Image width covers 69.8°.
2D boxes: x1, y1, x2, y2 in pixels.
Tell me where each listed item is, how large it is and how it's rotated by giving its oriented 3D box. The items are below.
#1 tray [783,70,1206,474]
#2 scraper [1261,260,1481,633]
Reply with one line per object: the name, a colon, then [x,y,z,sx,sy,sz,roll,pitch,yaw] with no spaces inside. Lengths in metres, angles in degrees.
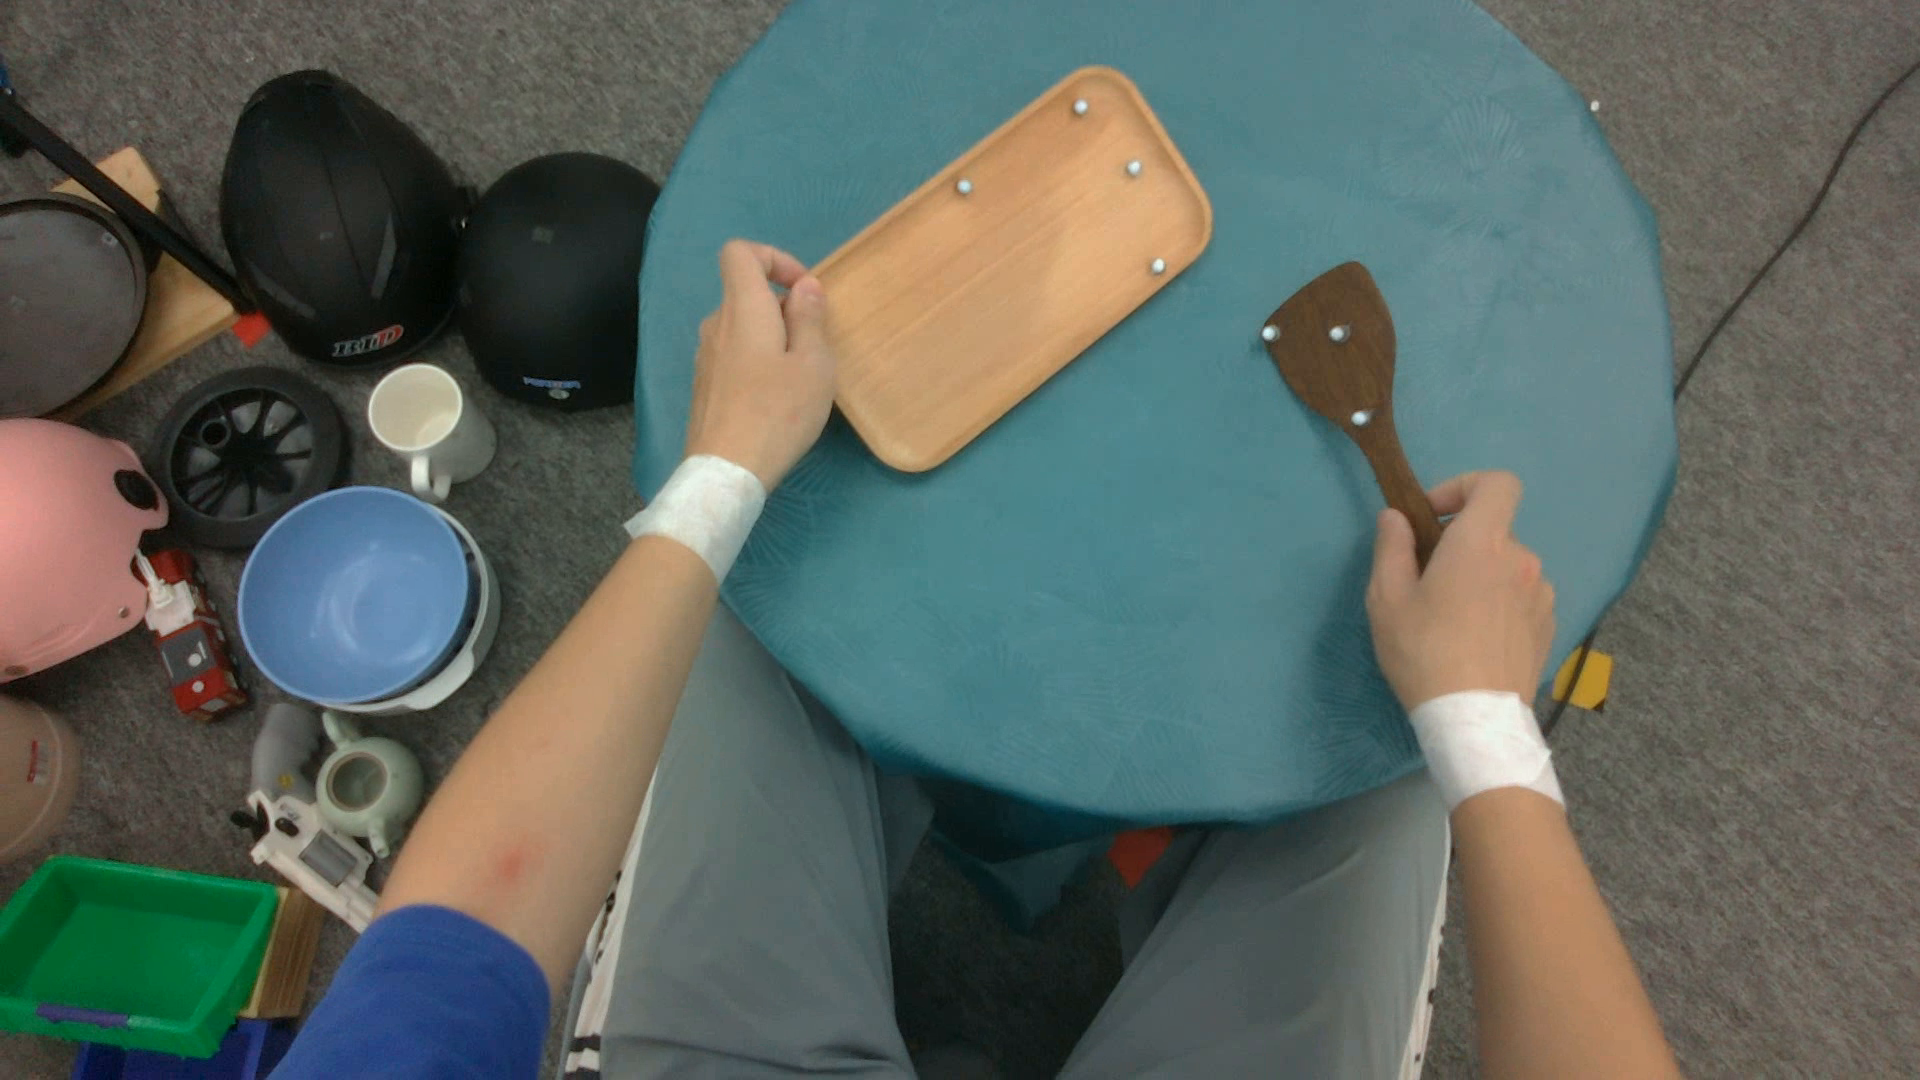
tray: [0.024,-0.153,0.782,0.251,0.023,0.130,-39,99,-12]
scraper: [0.230,-0.049,0.752,0.011,0.075,0.211,-10,72,-36]
